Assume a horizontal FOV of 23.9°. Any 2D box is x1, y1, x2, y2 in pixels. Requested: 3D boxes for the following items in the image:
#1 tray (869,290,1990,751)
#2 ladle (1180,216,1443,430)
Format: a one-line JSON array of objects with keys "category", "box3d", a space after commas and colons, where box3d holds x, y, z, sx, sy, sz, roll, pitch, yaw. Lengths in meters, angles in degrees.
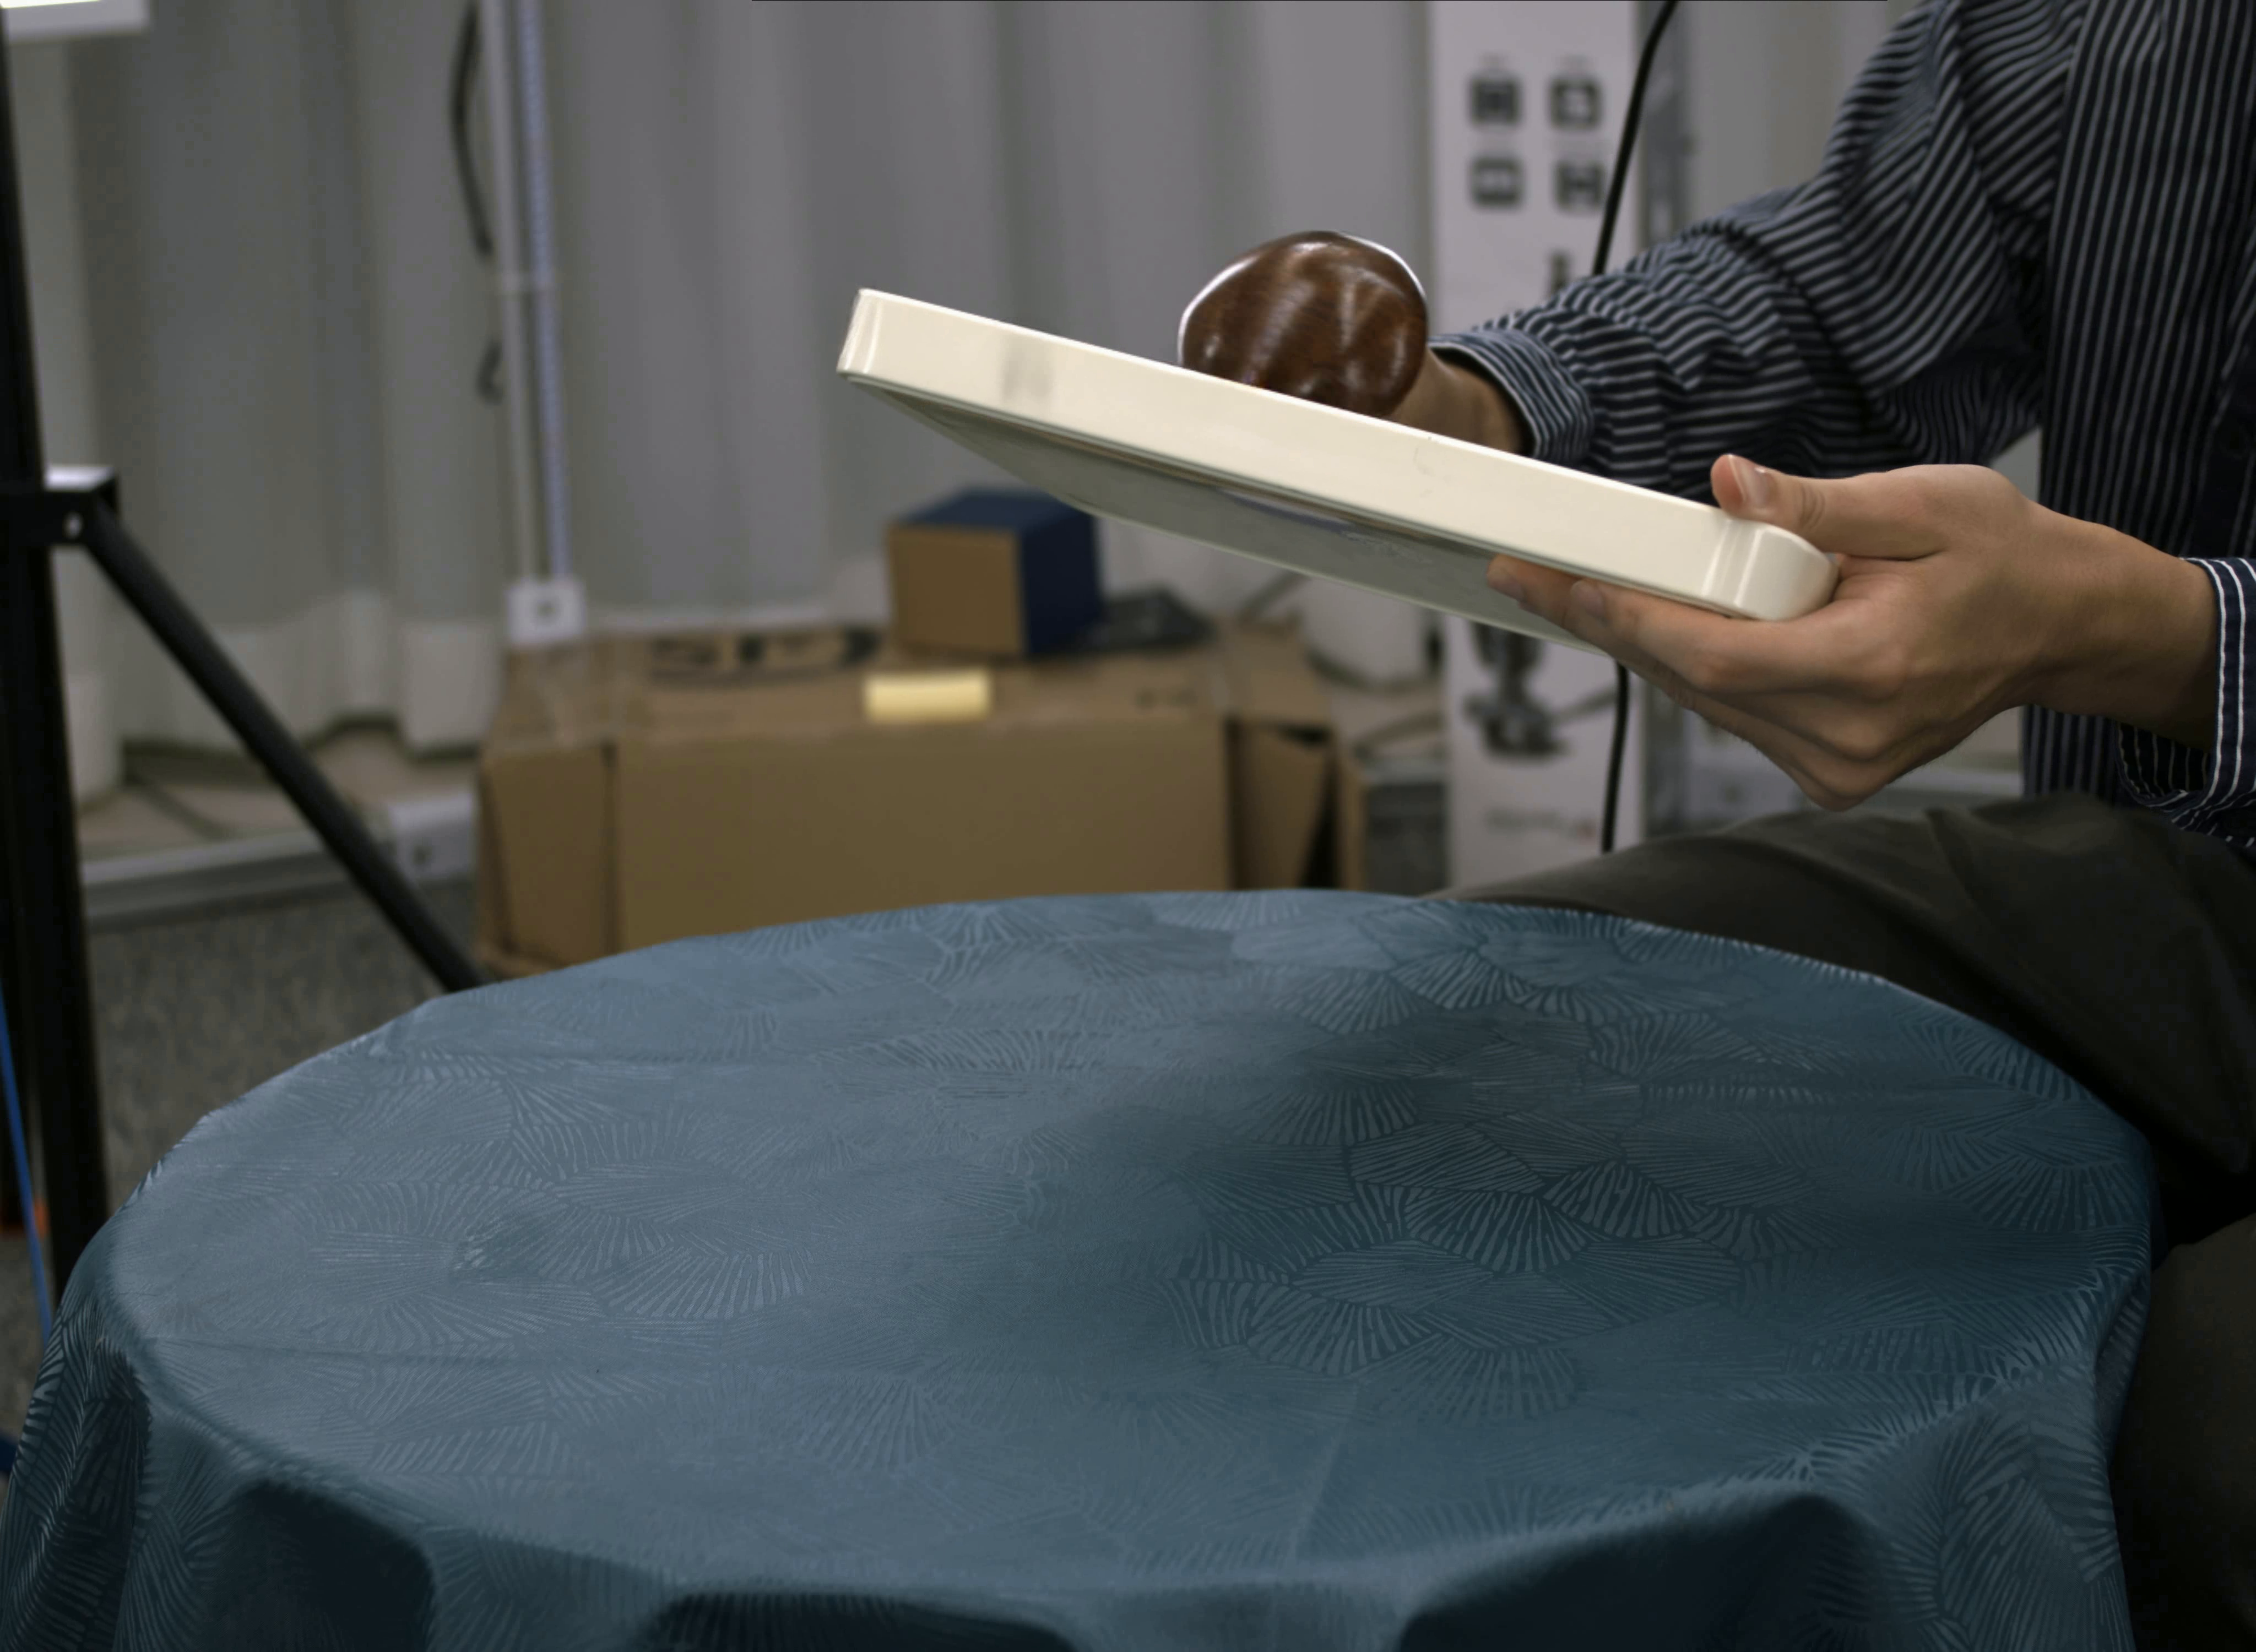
[{"category": "tray", "box3d": [0.087, -0.086, 1.538, 0.306, 0.027, 0.187, 18, -3, 28]}, {"category": "ladle", "box3d": [0.056, -0.131, 1.626, 0.082, 0.077, 0.272, -44, -6, -1]}]
